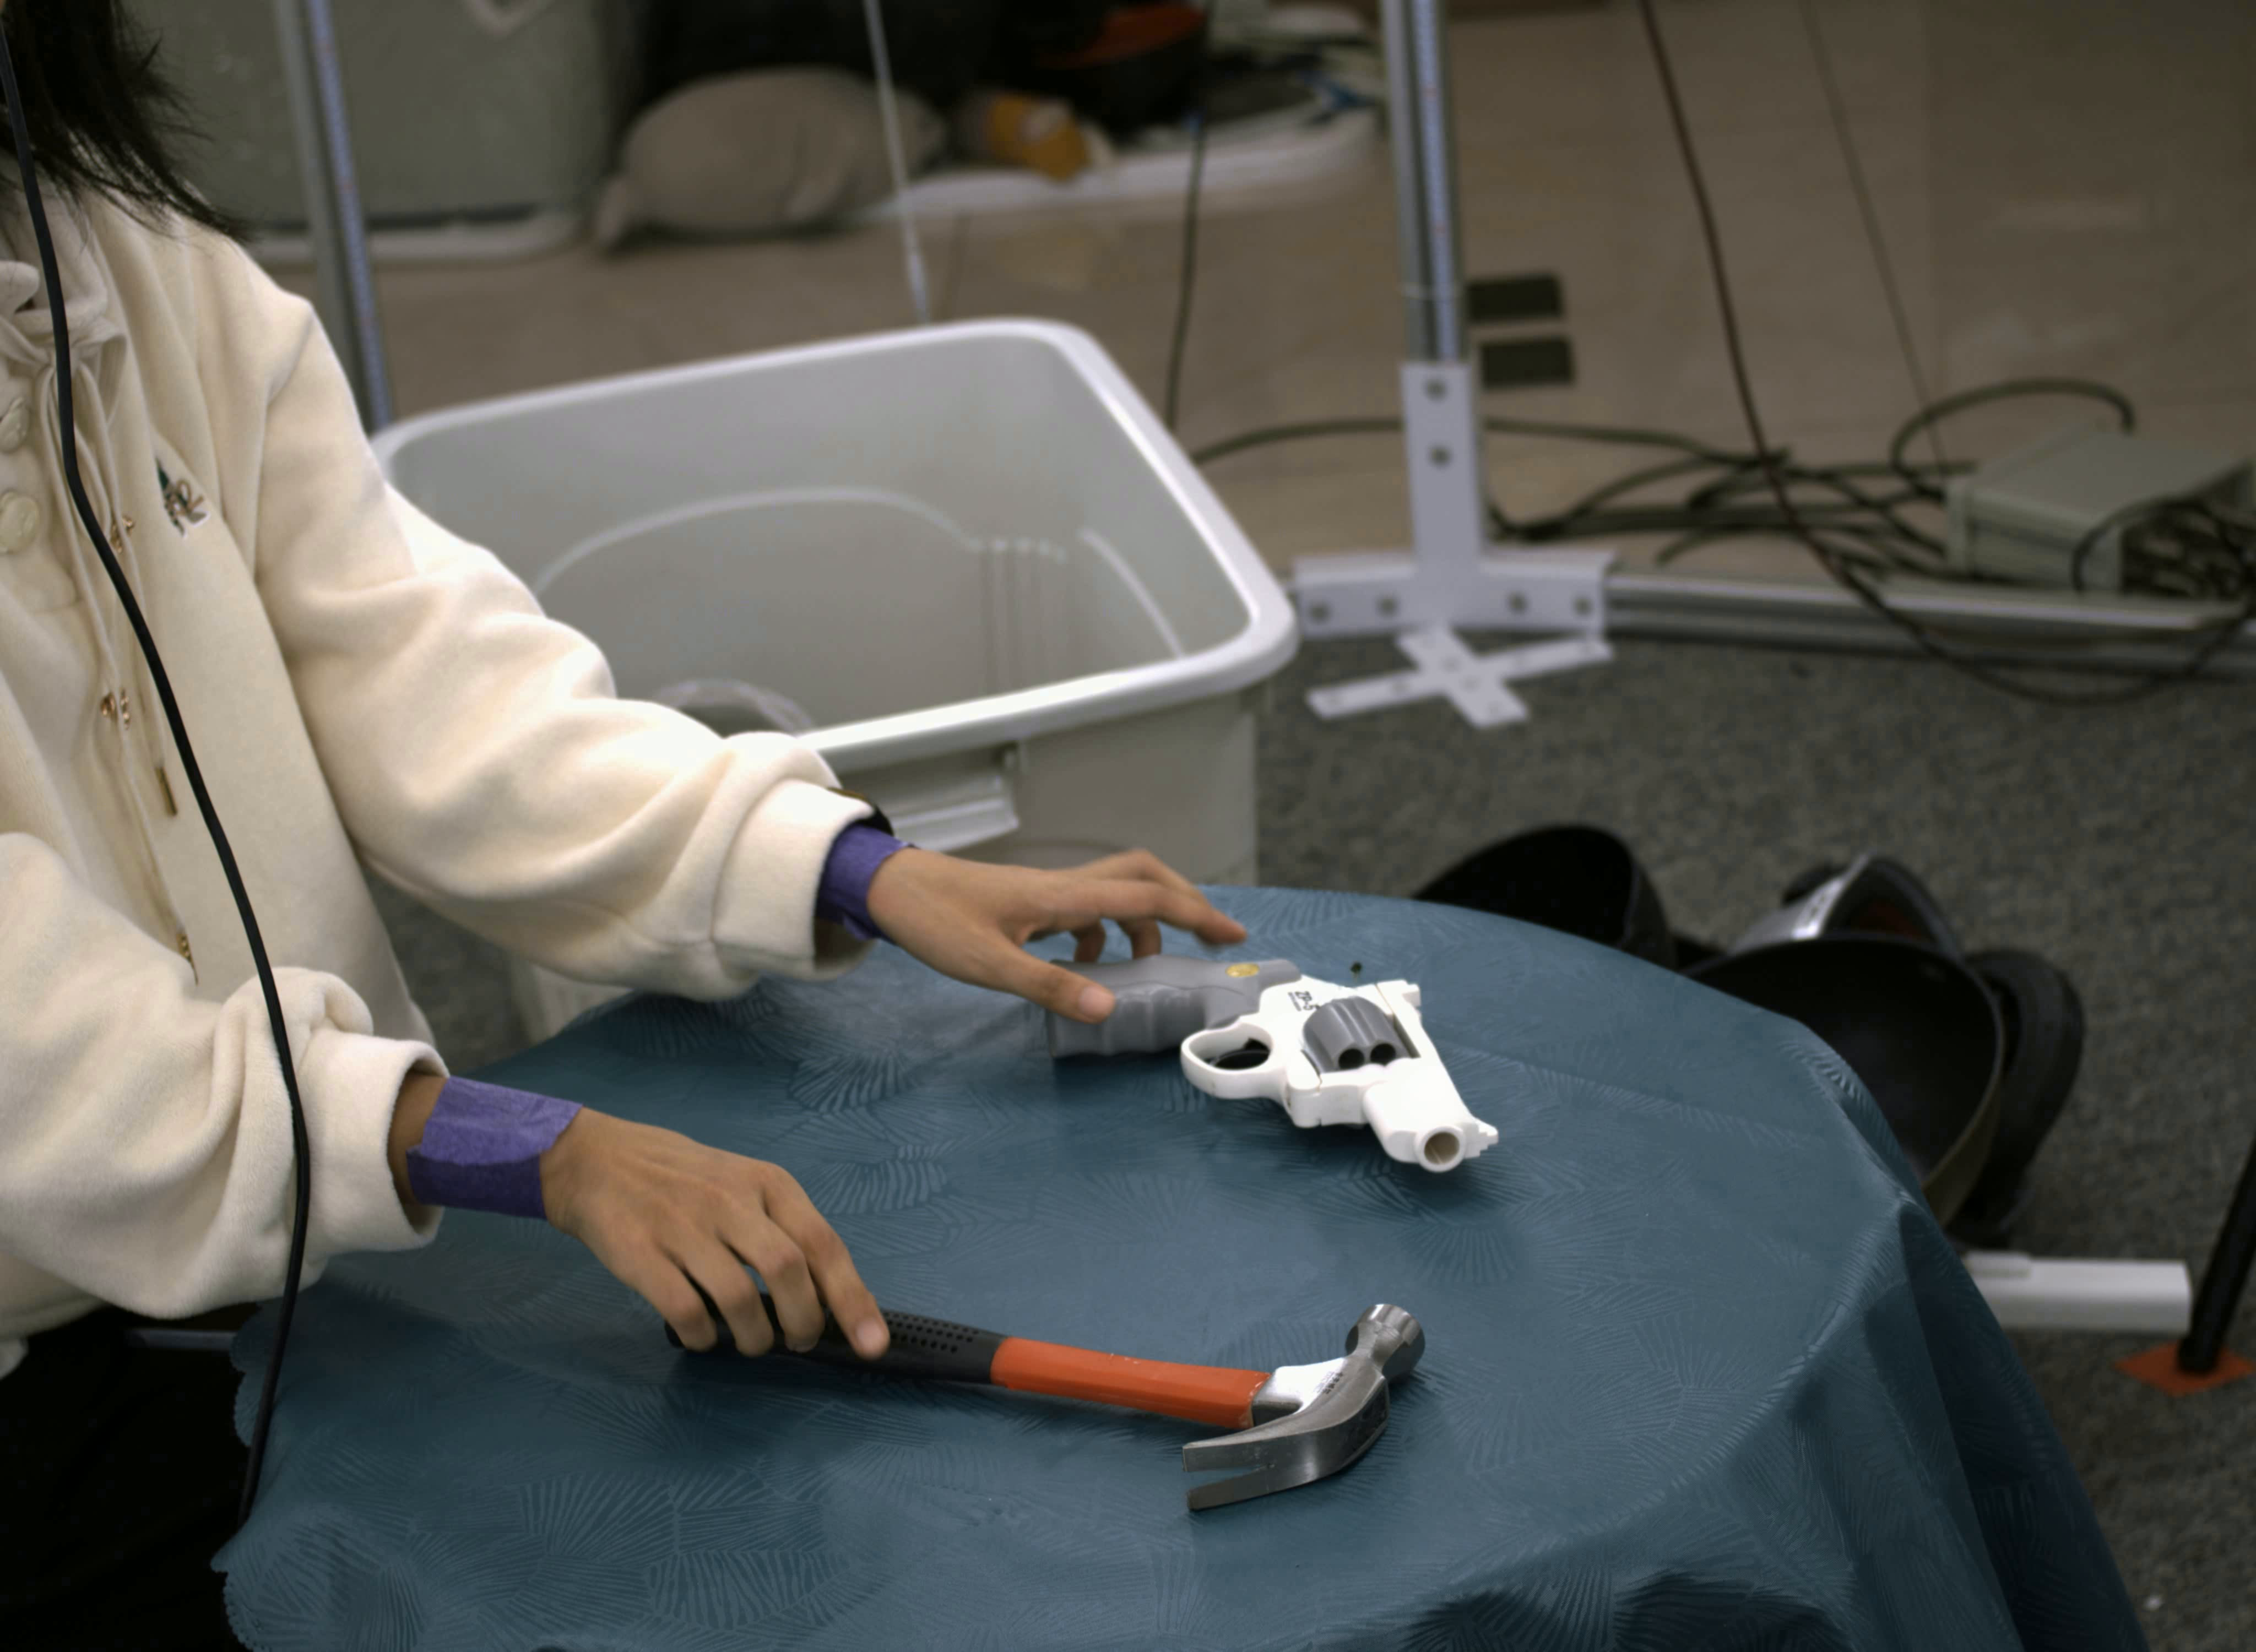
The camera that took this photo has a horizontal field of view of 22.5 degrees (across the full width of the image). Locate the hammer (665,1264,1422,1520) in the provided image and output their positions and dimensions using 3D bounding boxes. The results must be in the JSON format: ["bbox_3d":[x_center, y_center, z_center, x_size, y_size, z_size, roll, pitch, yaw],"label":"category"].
[{"bbox_3d":[-0.041,0.188,2.014,0.276,0.027,0.109,7,37,25],"label":"hammer"}]

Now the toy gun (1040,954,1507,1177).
[{"bbox_3d":[0.051,0.091,2.190,0.141,0.039,0.206,-9,23,-11],"label":"toy gun"}]
